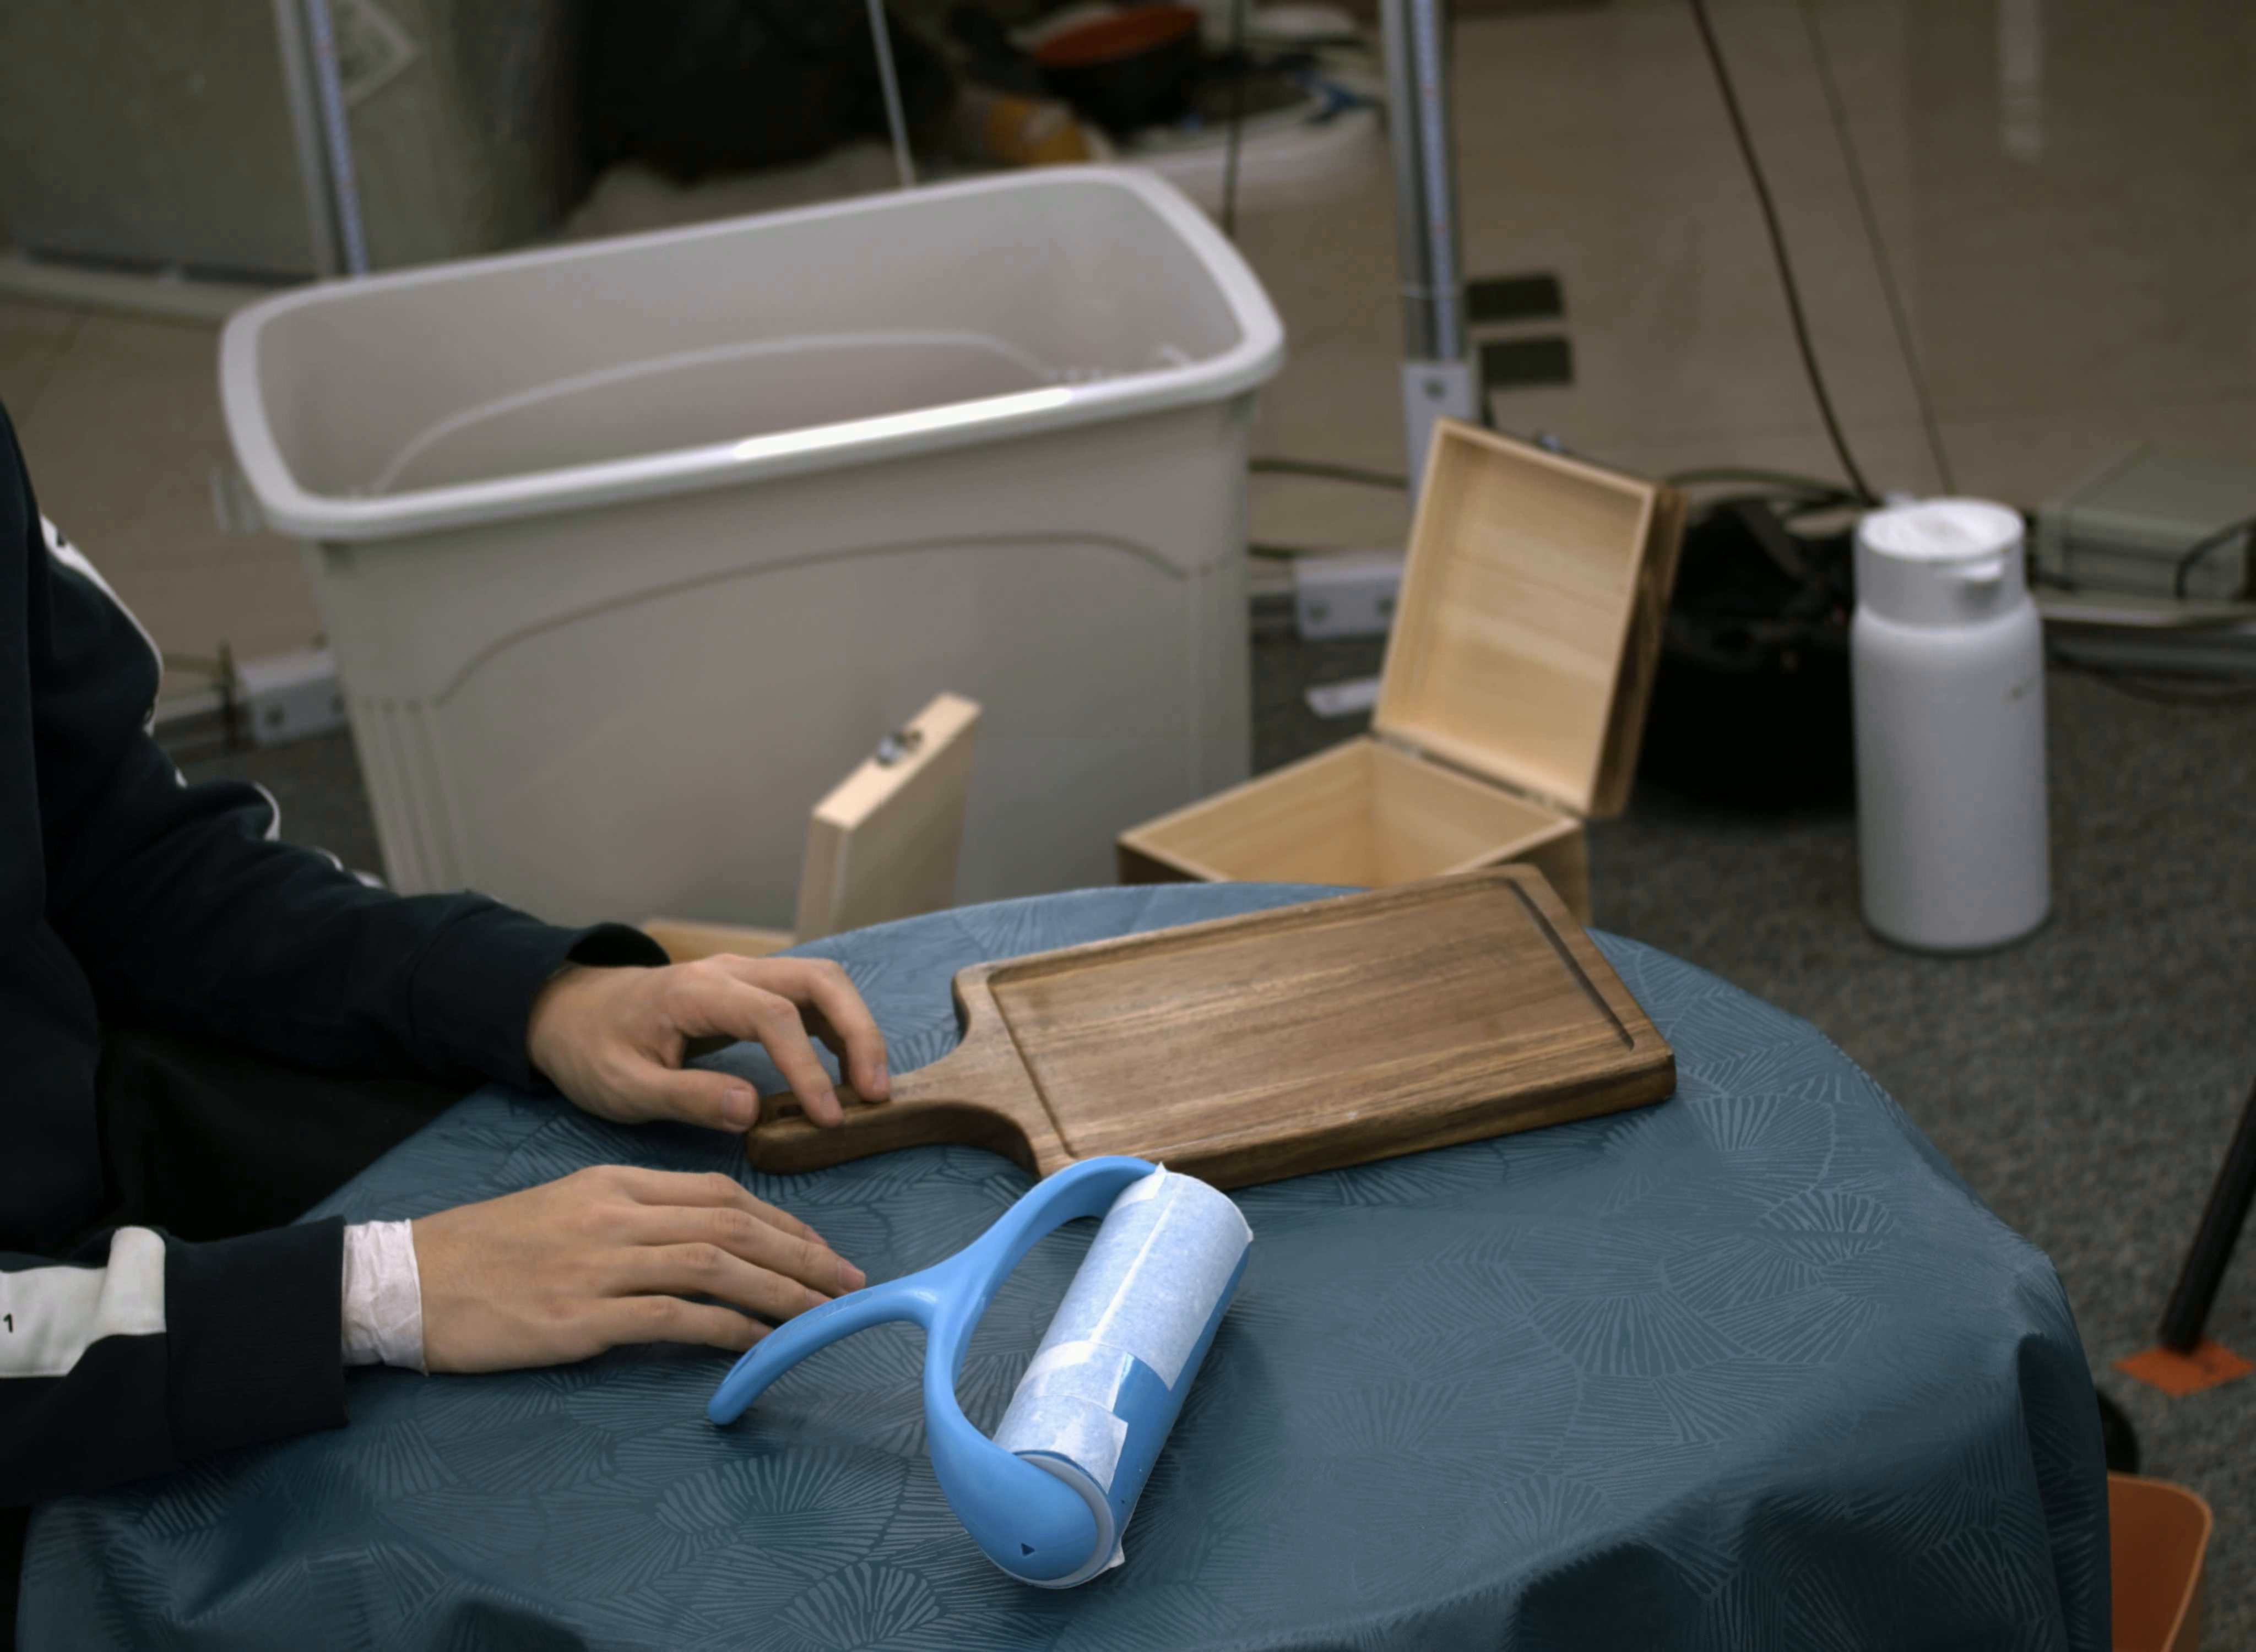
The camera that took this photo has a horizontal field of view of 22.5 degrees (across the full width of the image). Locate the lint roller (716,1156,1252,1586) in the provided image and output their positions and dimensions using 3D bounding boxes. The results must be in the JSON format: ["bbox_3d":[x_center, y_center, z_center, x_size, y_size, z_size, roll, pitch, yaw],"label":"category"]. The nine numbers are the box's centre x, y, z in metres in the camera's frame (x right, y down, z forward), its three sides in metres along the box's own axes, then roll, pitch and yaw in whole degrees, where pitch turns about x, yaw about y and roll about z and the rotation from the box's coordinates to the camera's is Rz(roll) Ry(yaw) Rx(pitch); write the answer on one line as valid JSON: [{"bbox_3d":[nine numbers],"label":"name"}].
[{"bbox_3d":[-0.062,0.188,1.986,0.180,0.069,0.225,1,28,13],"label":"lint roller"}]

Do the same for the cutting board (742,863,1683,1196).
[{"bbox_3d":[0.022,0.090,2.218,0.351,0.023,0.198,-11,25,-10],"label":"cutting board"}]
